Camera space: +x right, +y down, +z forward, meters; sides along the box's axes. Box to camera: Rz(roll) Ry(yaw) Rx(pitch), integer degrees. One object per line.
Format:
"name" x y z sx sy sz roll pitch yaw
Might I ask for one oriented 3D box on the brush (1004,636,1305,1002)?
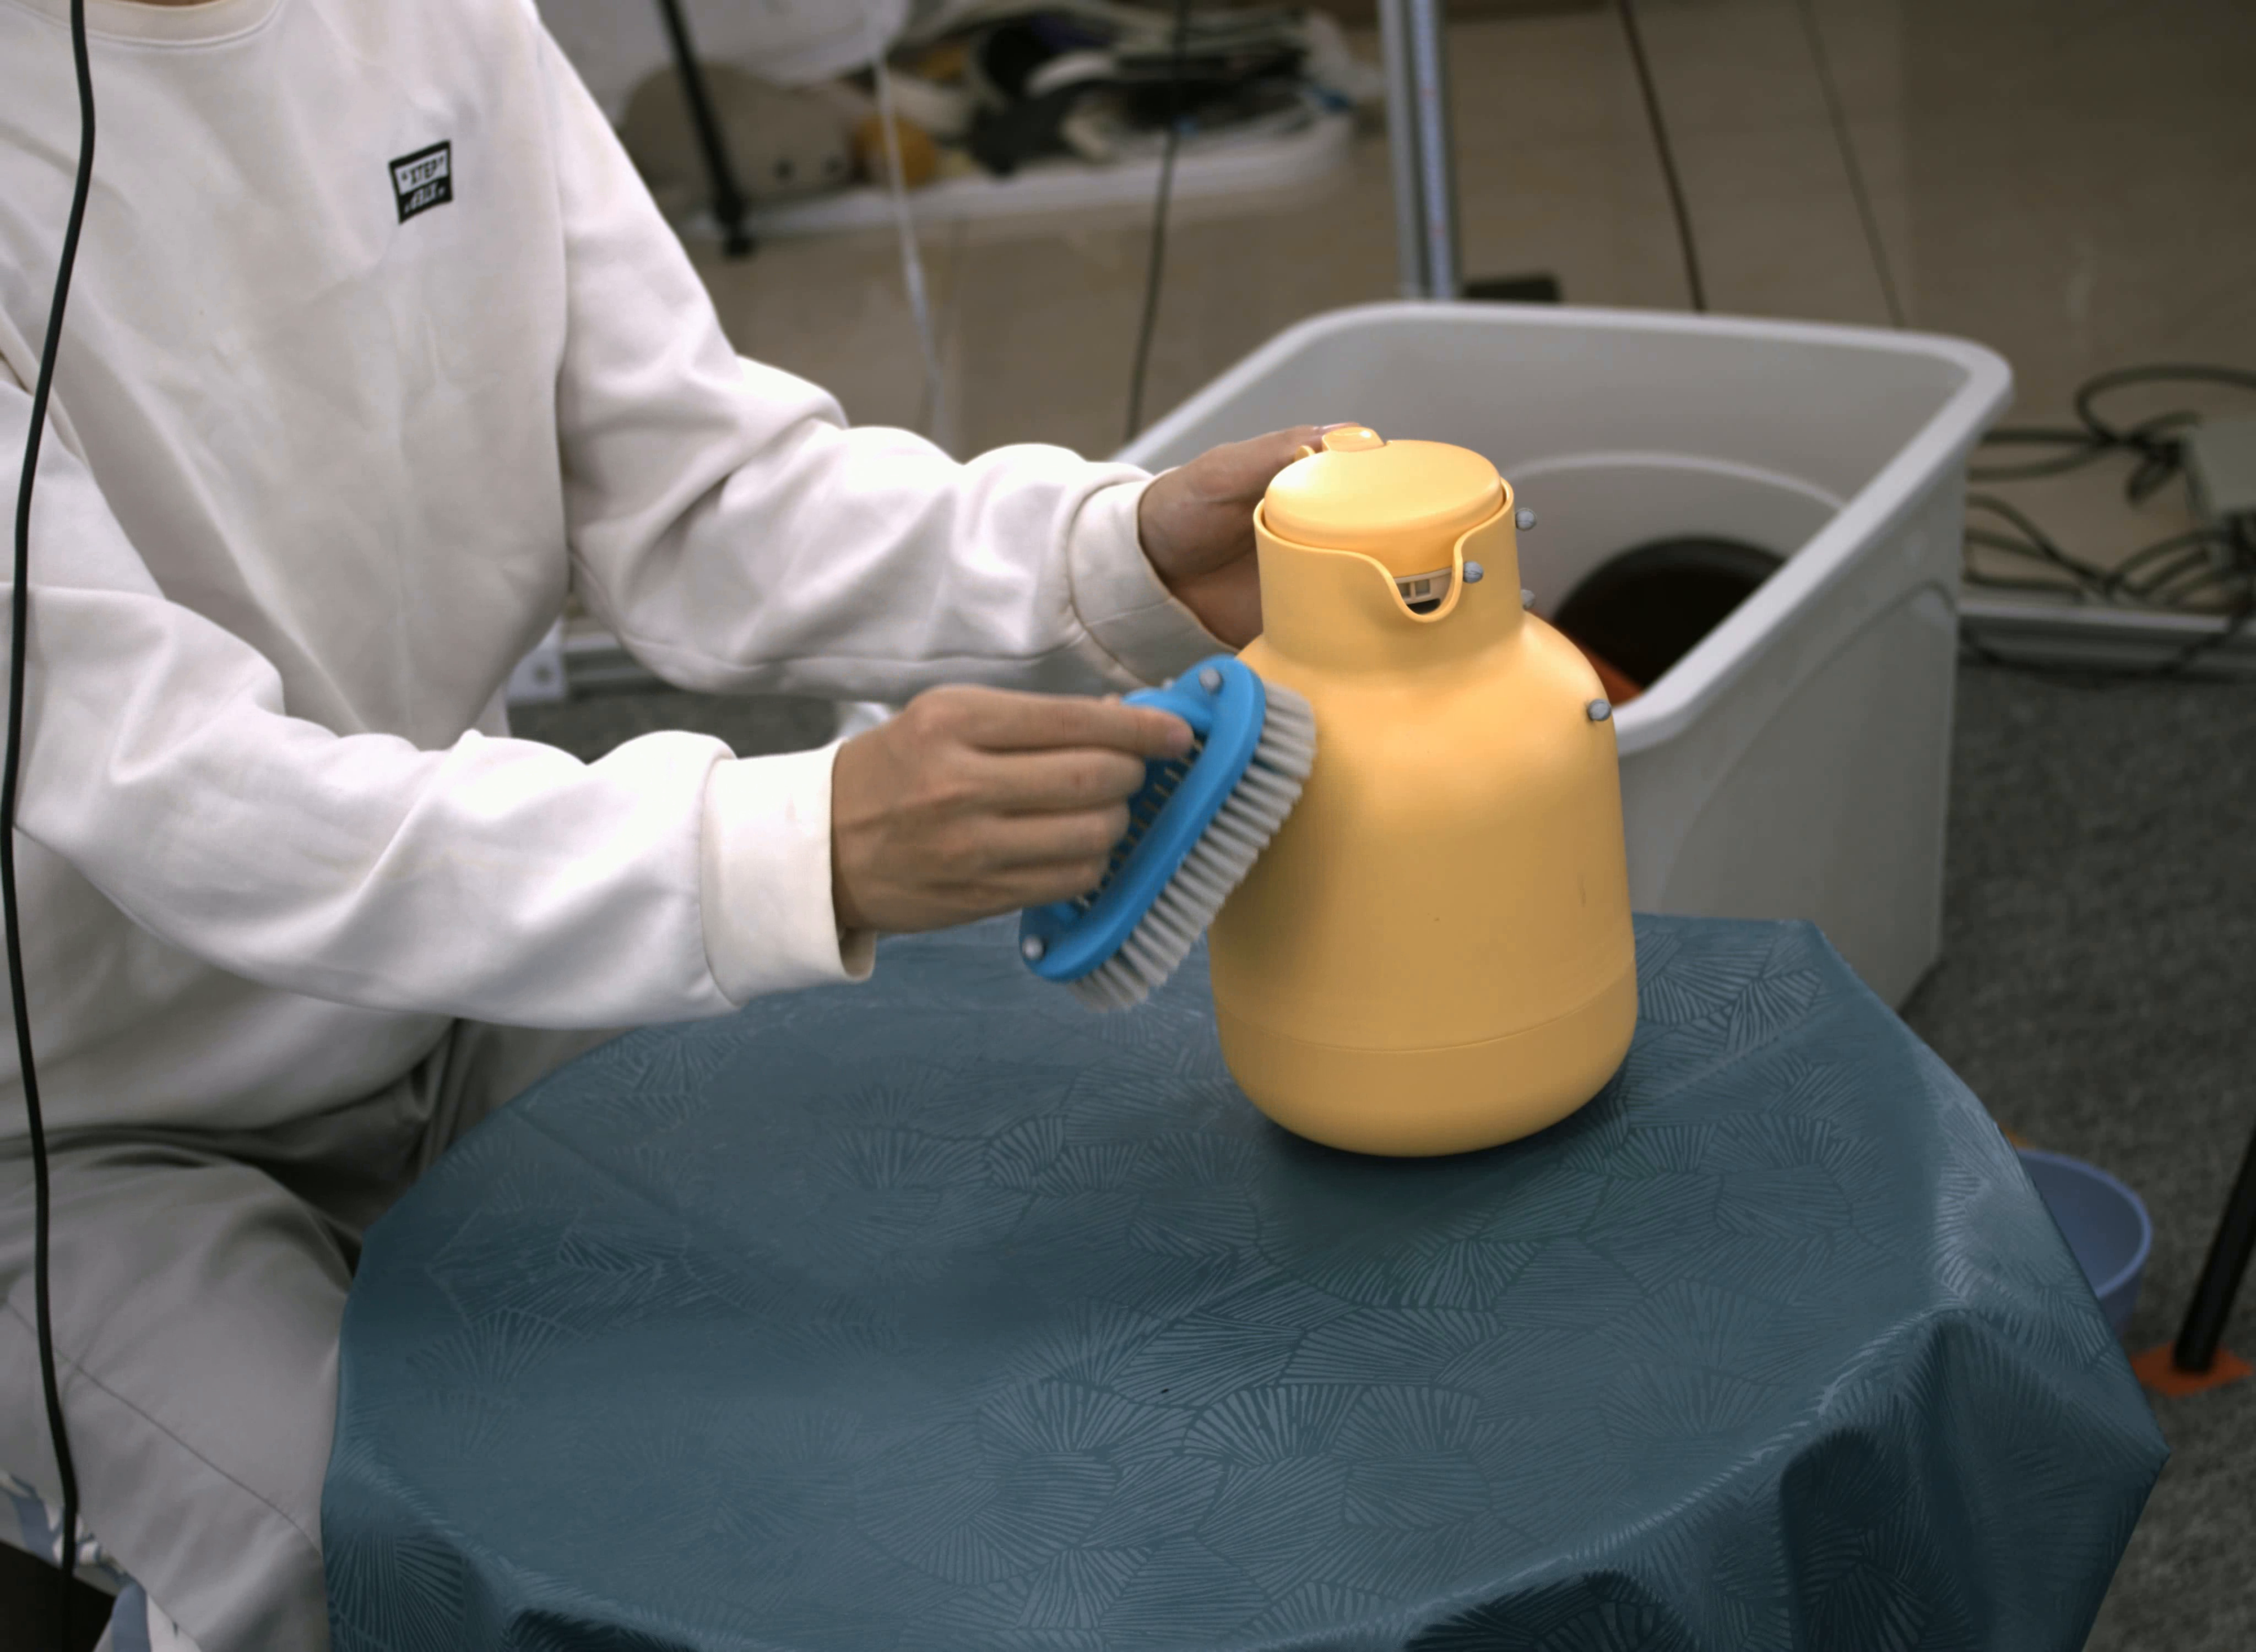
"brush" 0.000 -0.007 2.062 0.064 0.142 0.083 29 11 -34

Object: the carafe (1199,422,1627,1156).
"carafe" 0.102 -0.024 2.157 0.163 0.265 0.199 -7 27 -6
